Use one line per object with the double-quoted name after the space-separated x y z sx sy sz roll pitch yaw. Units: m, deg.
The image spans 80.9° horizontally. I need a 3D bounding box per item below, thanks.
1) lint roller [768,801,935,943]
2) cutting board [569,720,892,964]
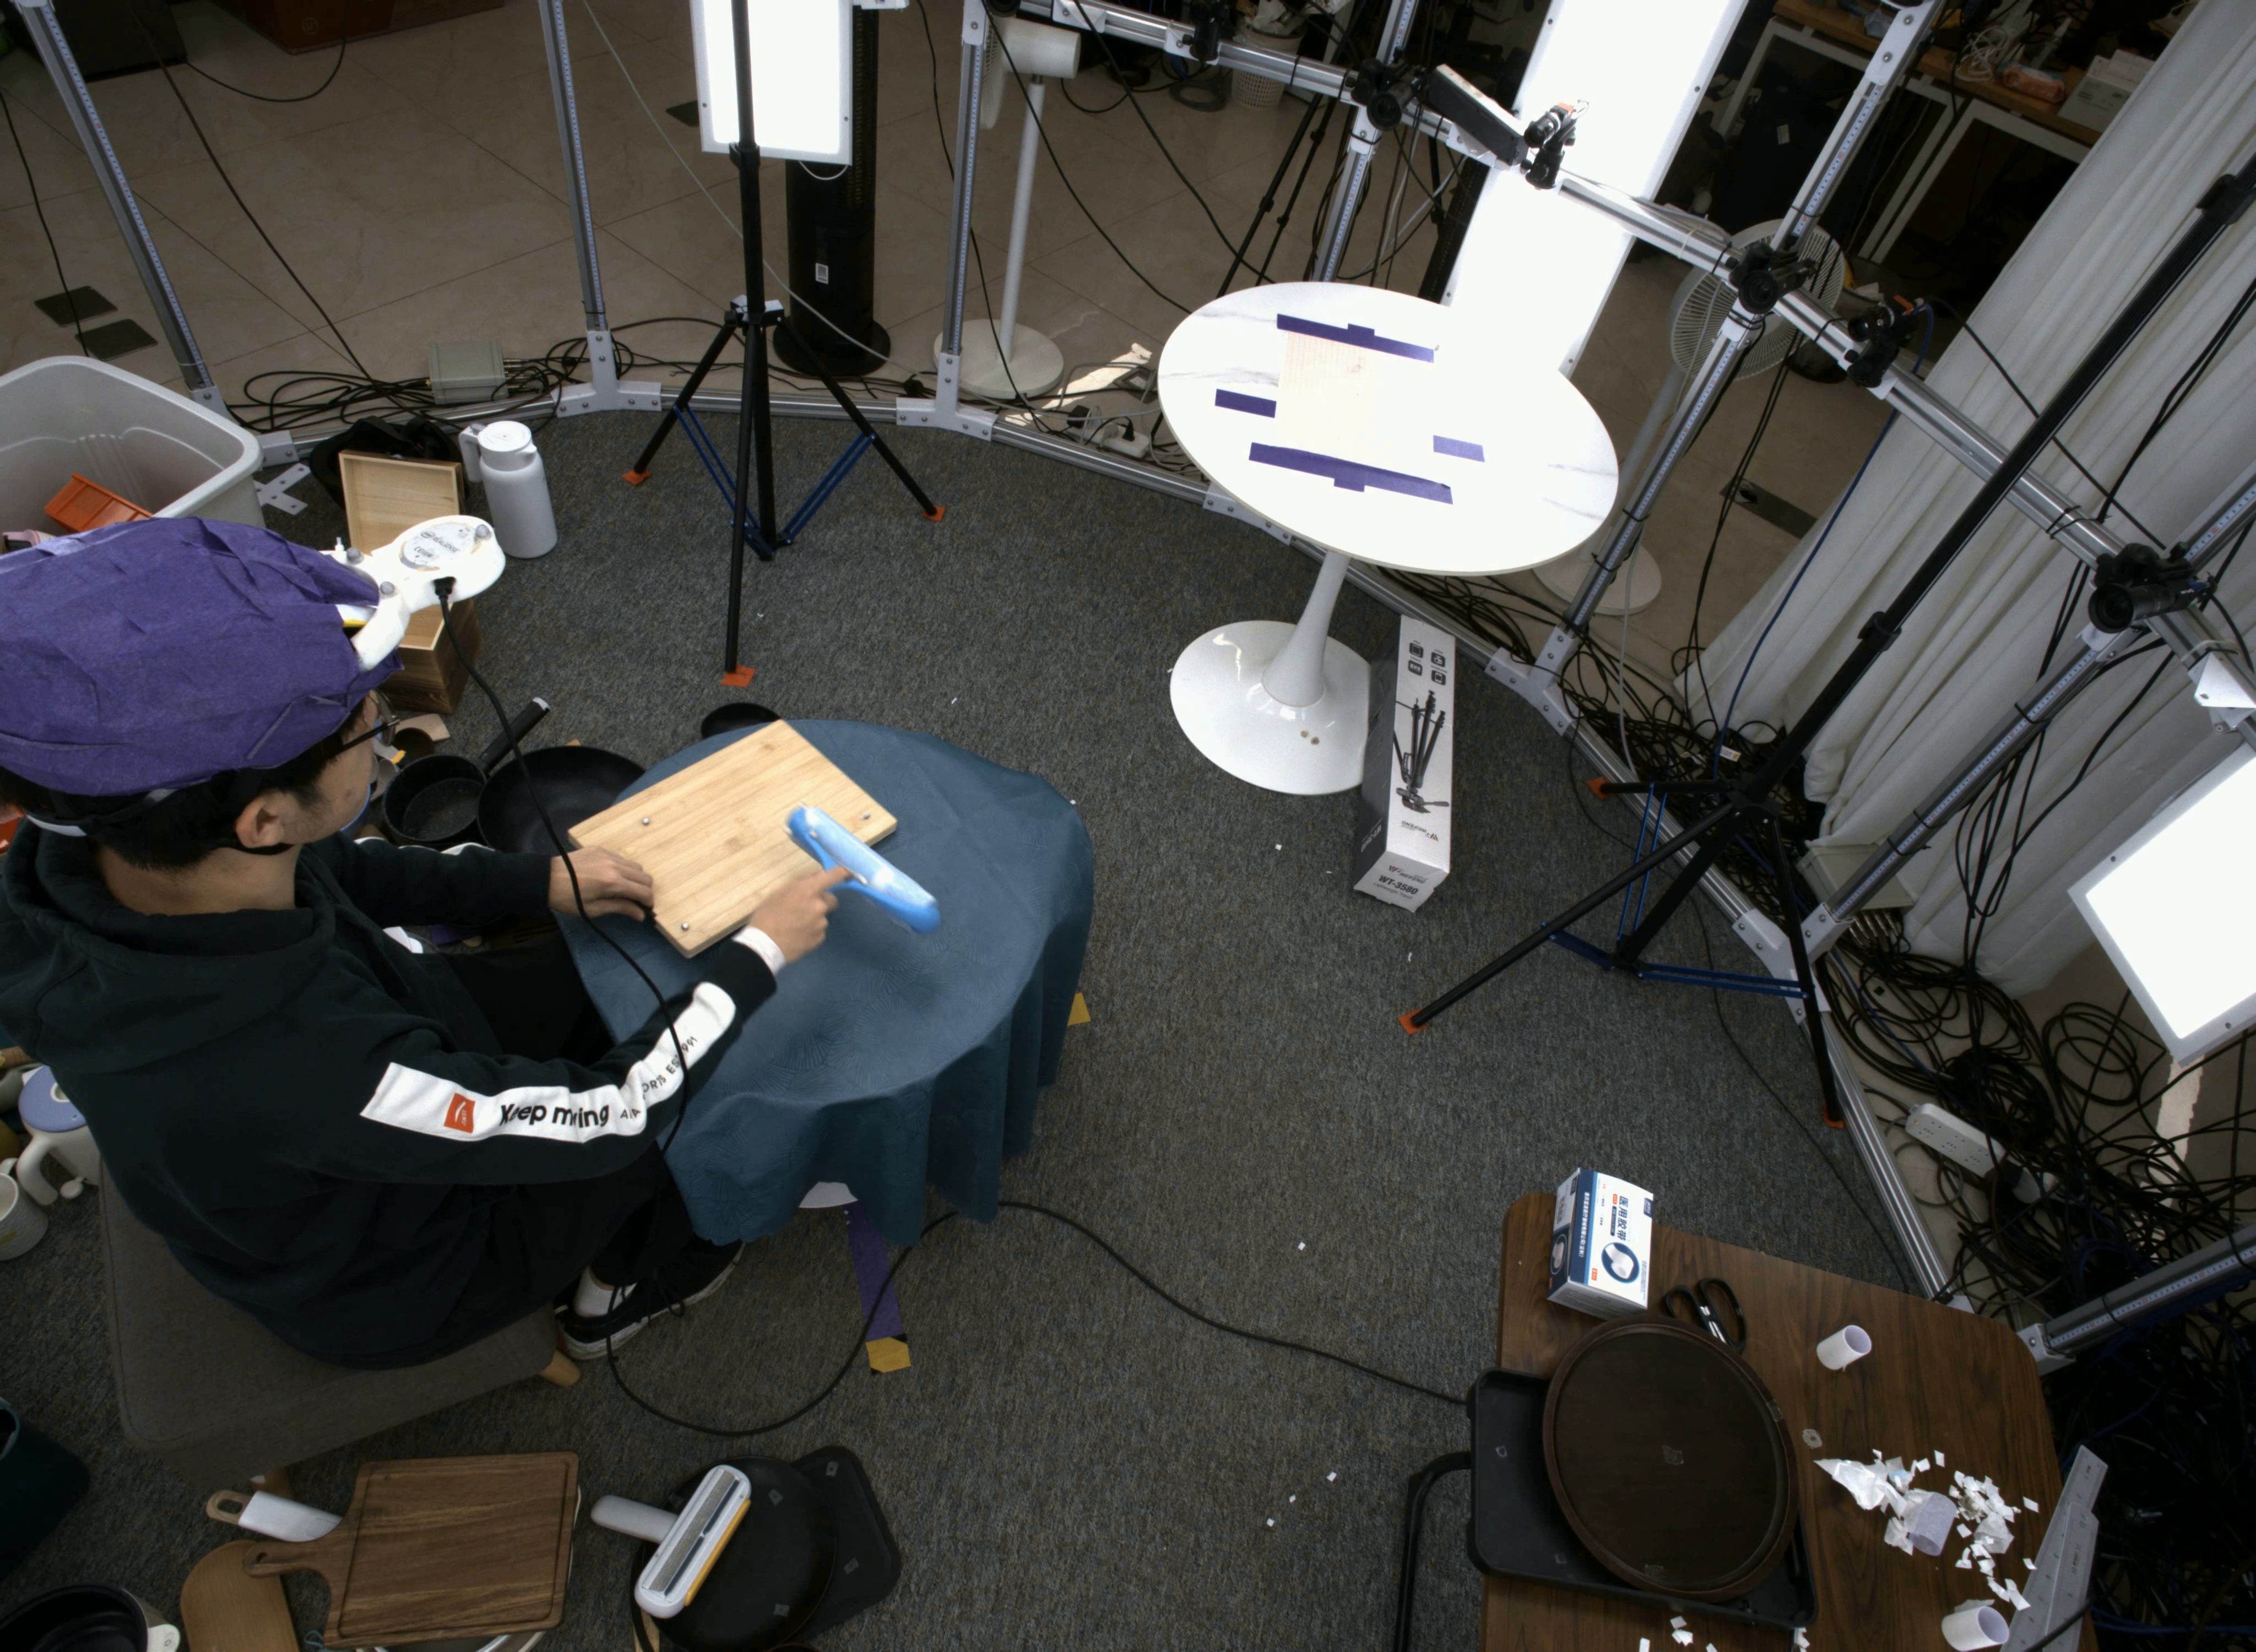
-0.354 0.071 1.536 0.227 0.068 0.180 36 38 4 "lint roller"
-0.510 0.008 1.668 0.245 0.024 0.349 39 48 15 "cutting board"
